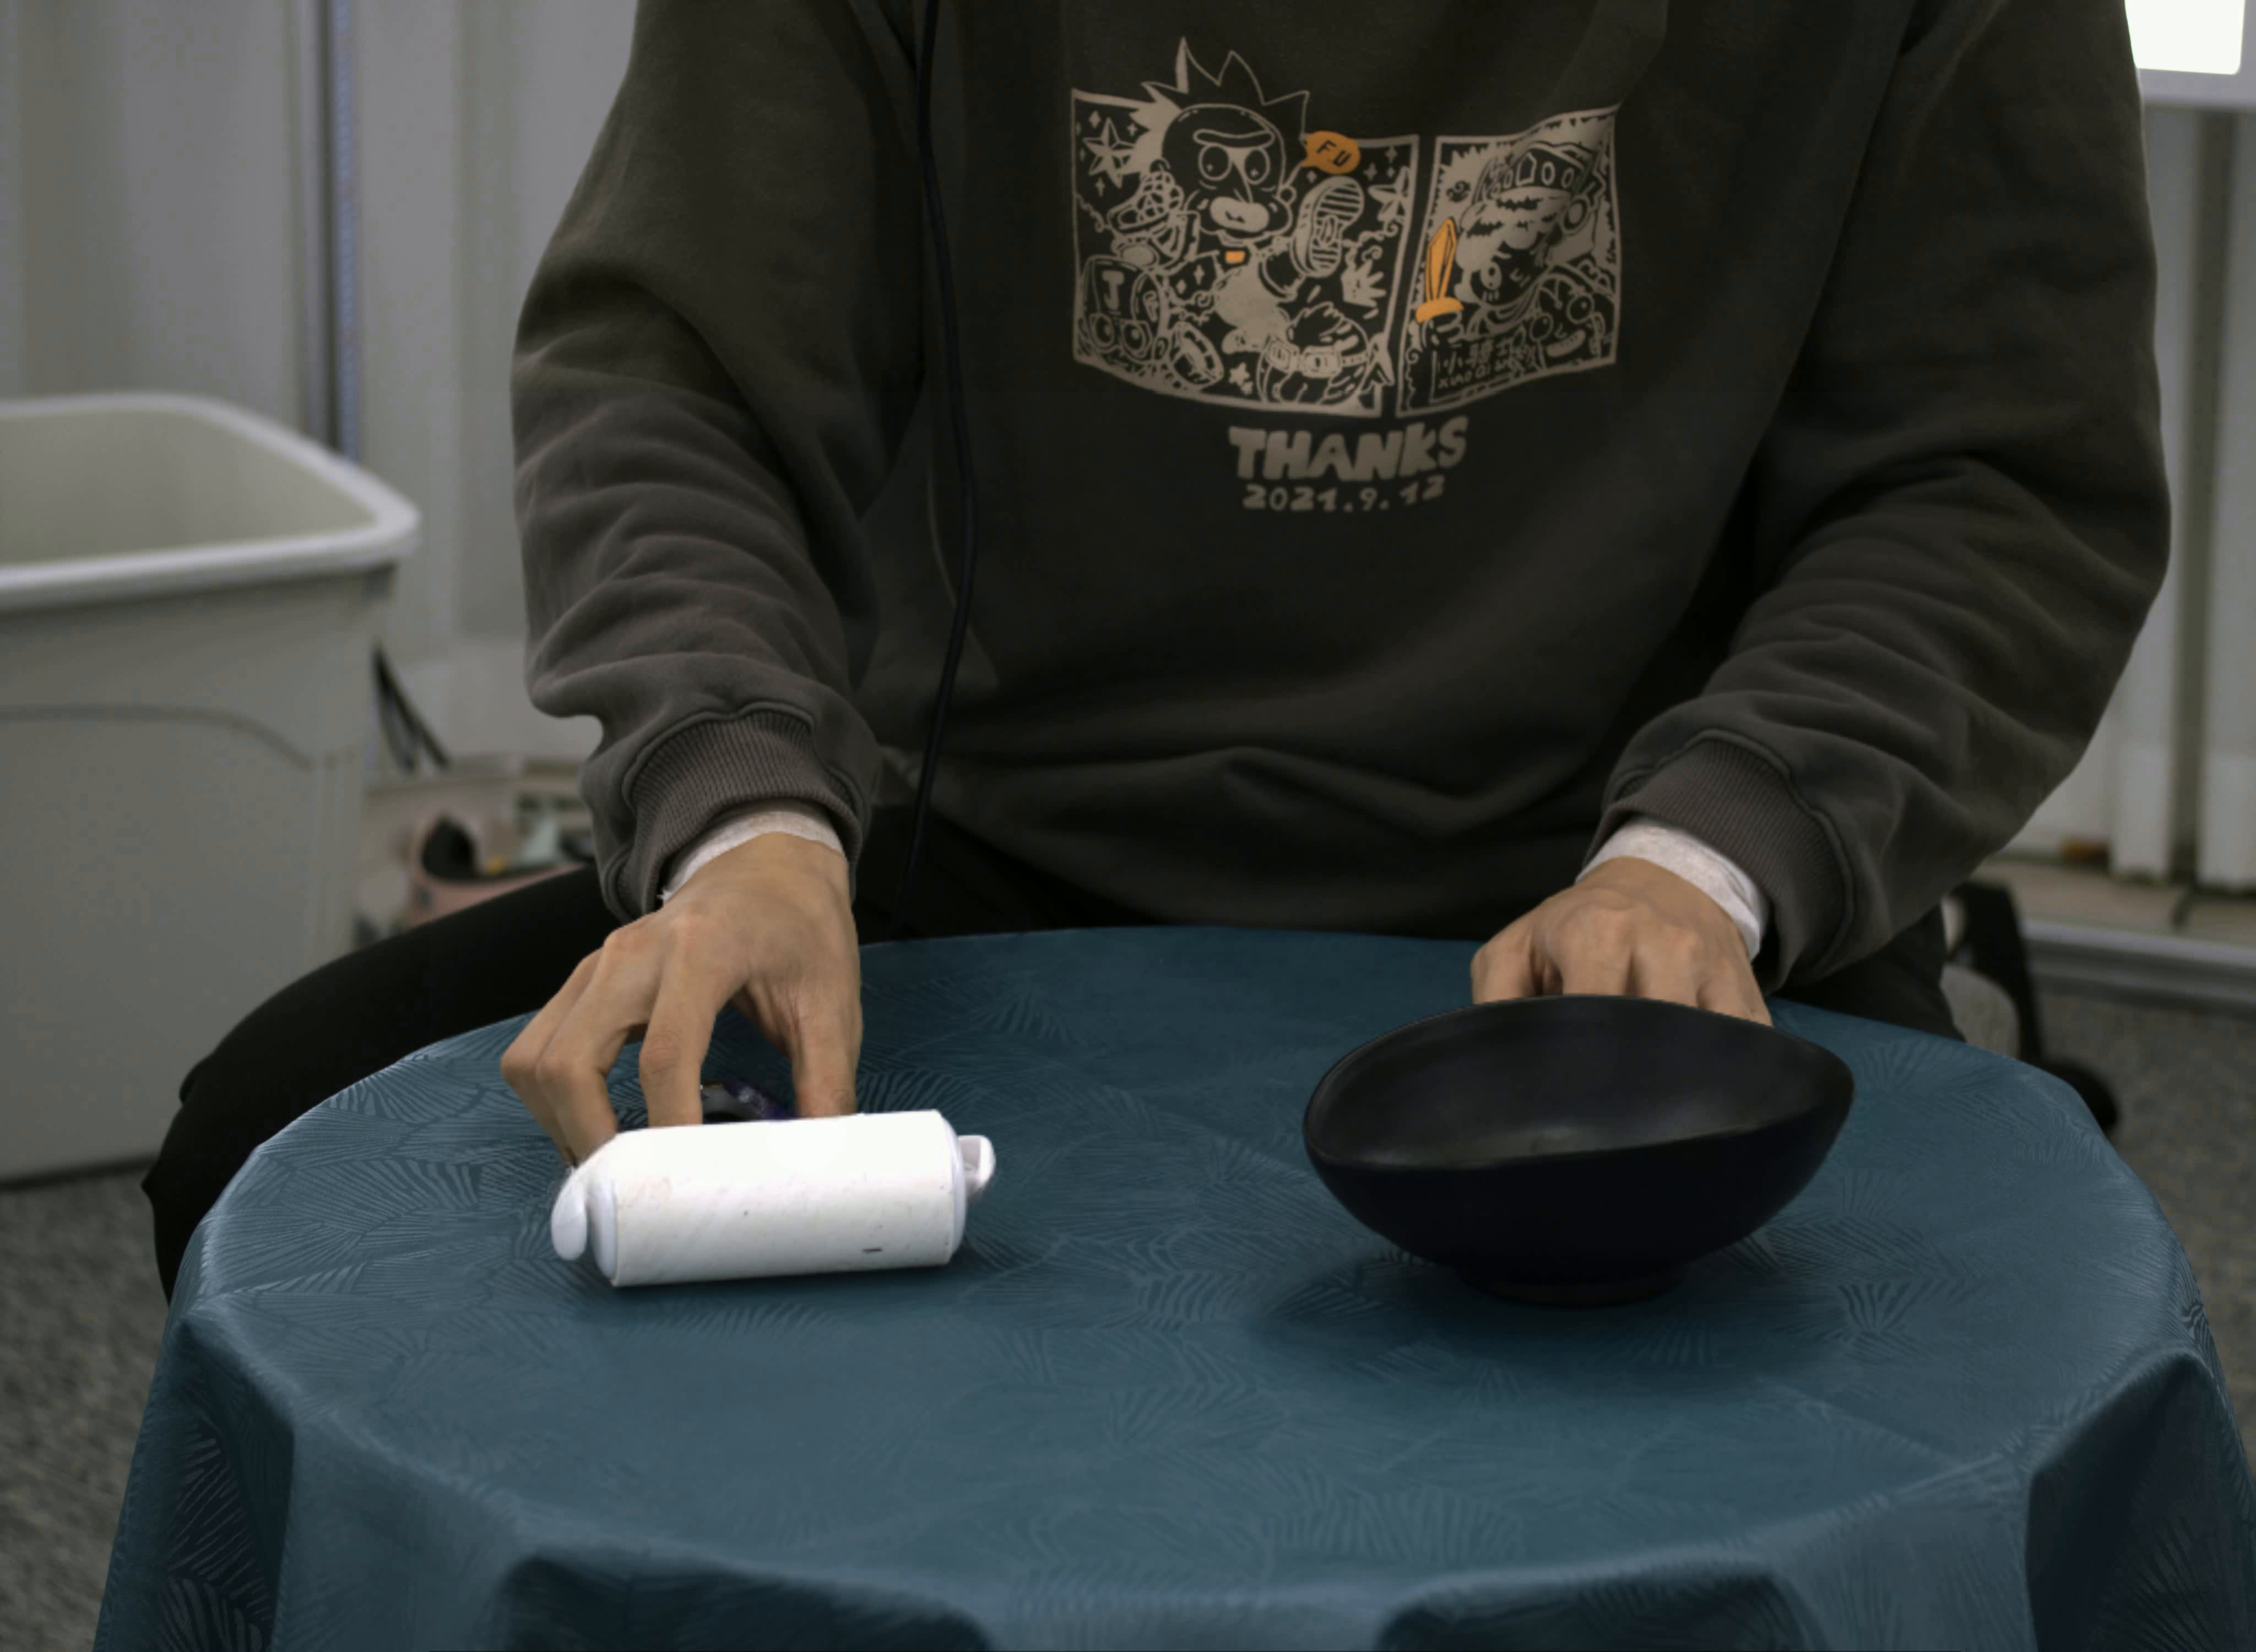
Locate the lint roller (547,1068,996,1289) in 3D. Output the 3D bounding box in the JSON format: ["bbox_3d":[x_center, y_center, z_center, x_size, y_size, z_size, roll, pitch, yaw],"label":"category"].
[{"bbox_3d":[-0.115,0.091,1.613,0.133,0.050,0.179,-2,19,-9],"label":"lint roller"}]

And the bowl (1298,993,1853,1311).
[{"bbox_3d":[0.133,0.102,1.556,0.171,0.067,0.135,-9,17,-25],"label":"bowl"}]
